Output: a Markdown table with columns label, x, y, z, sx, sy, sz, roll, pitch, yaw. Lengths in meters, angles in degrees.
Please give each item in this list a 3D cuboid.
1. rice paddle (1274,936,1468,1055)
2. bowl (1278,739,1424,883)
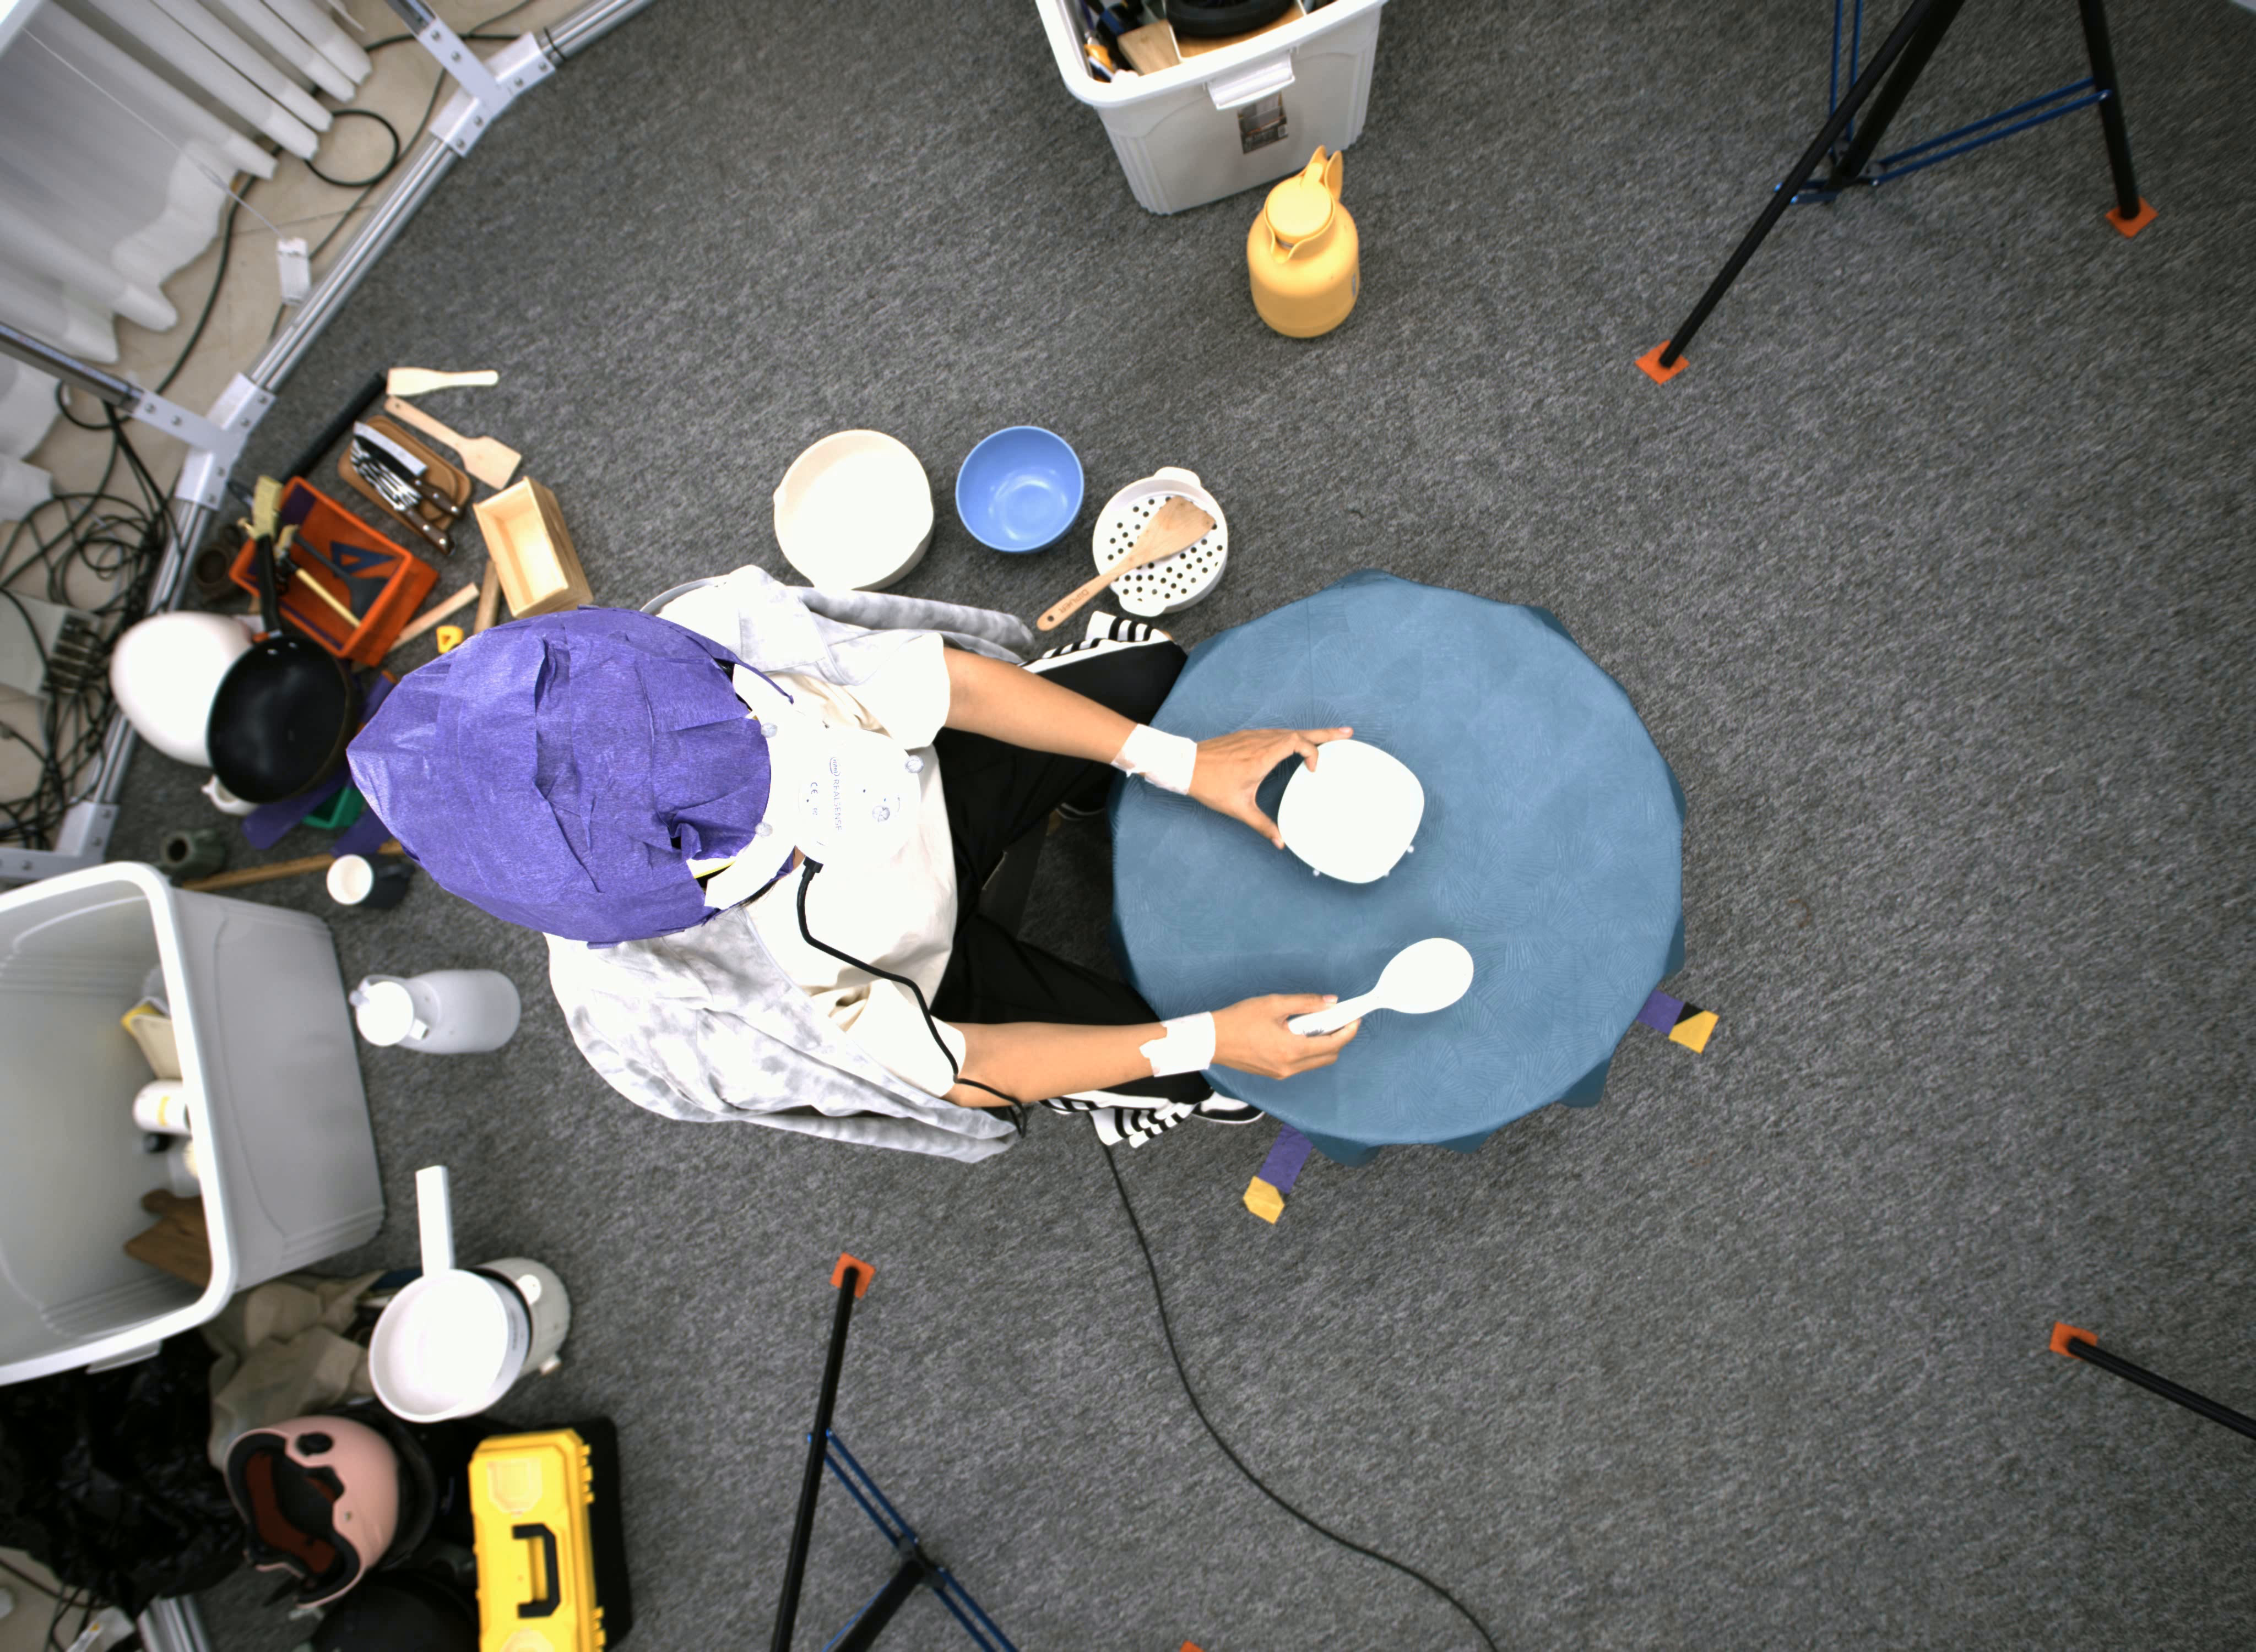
| label | x | y | z | sx | sy | sz | roll | pitch | yaw |
| --- | --- | --- | --- | --- | --- | --- | --- | --- | --- |
| rice paddle | 0.243 | 0.170 | 1.378 | 0.207 | 0.029 | 0.069 | -27 | 95 | 10 |
| bowl | 0.232 | -0.015 | 1.439 | 0.152 | 0.058 | 0.151 | 0 | 90 | 9 |
